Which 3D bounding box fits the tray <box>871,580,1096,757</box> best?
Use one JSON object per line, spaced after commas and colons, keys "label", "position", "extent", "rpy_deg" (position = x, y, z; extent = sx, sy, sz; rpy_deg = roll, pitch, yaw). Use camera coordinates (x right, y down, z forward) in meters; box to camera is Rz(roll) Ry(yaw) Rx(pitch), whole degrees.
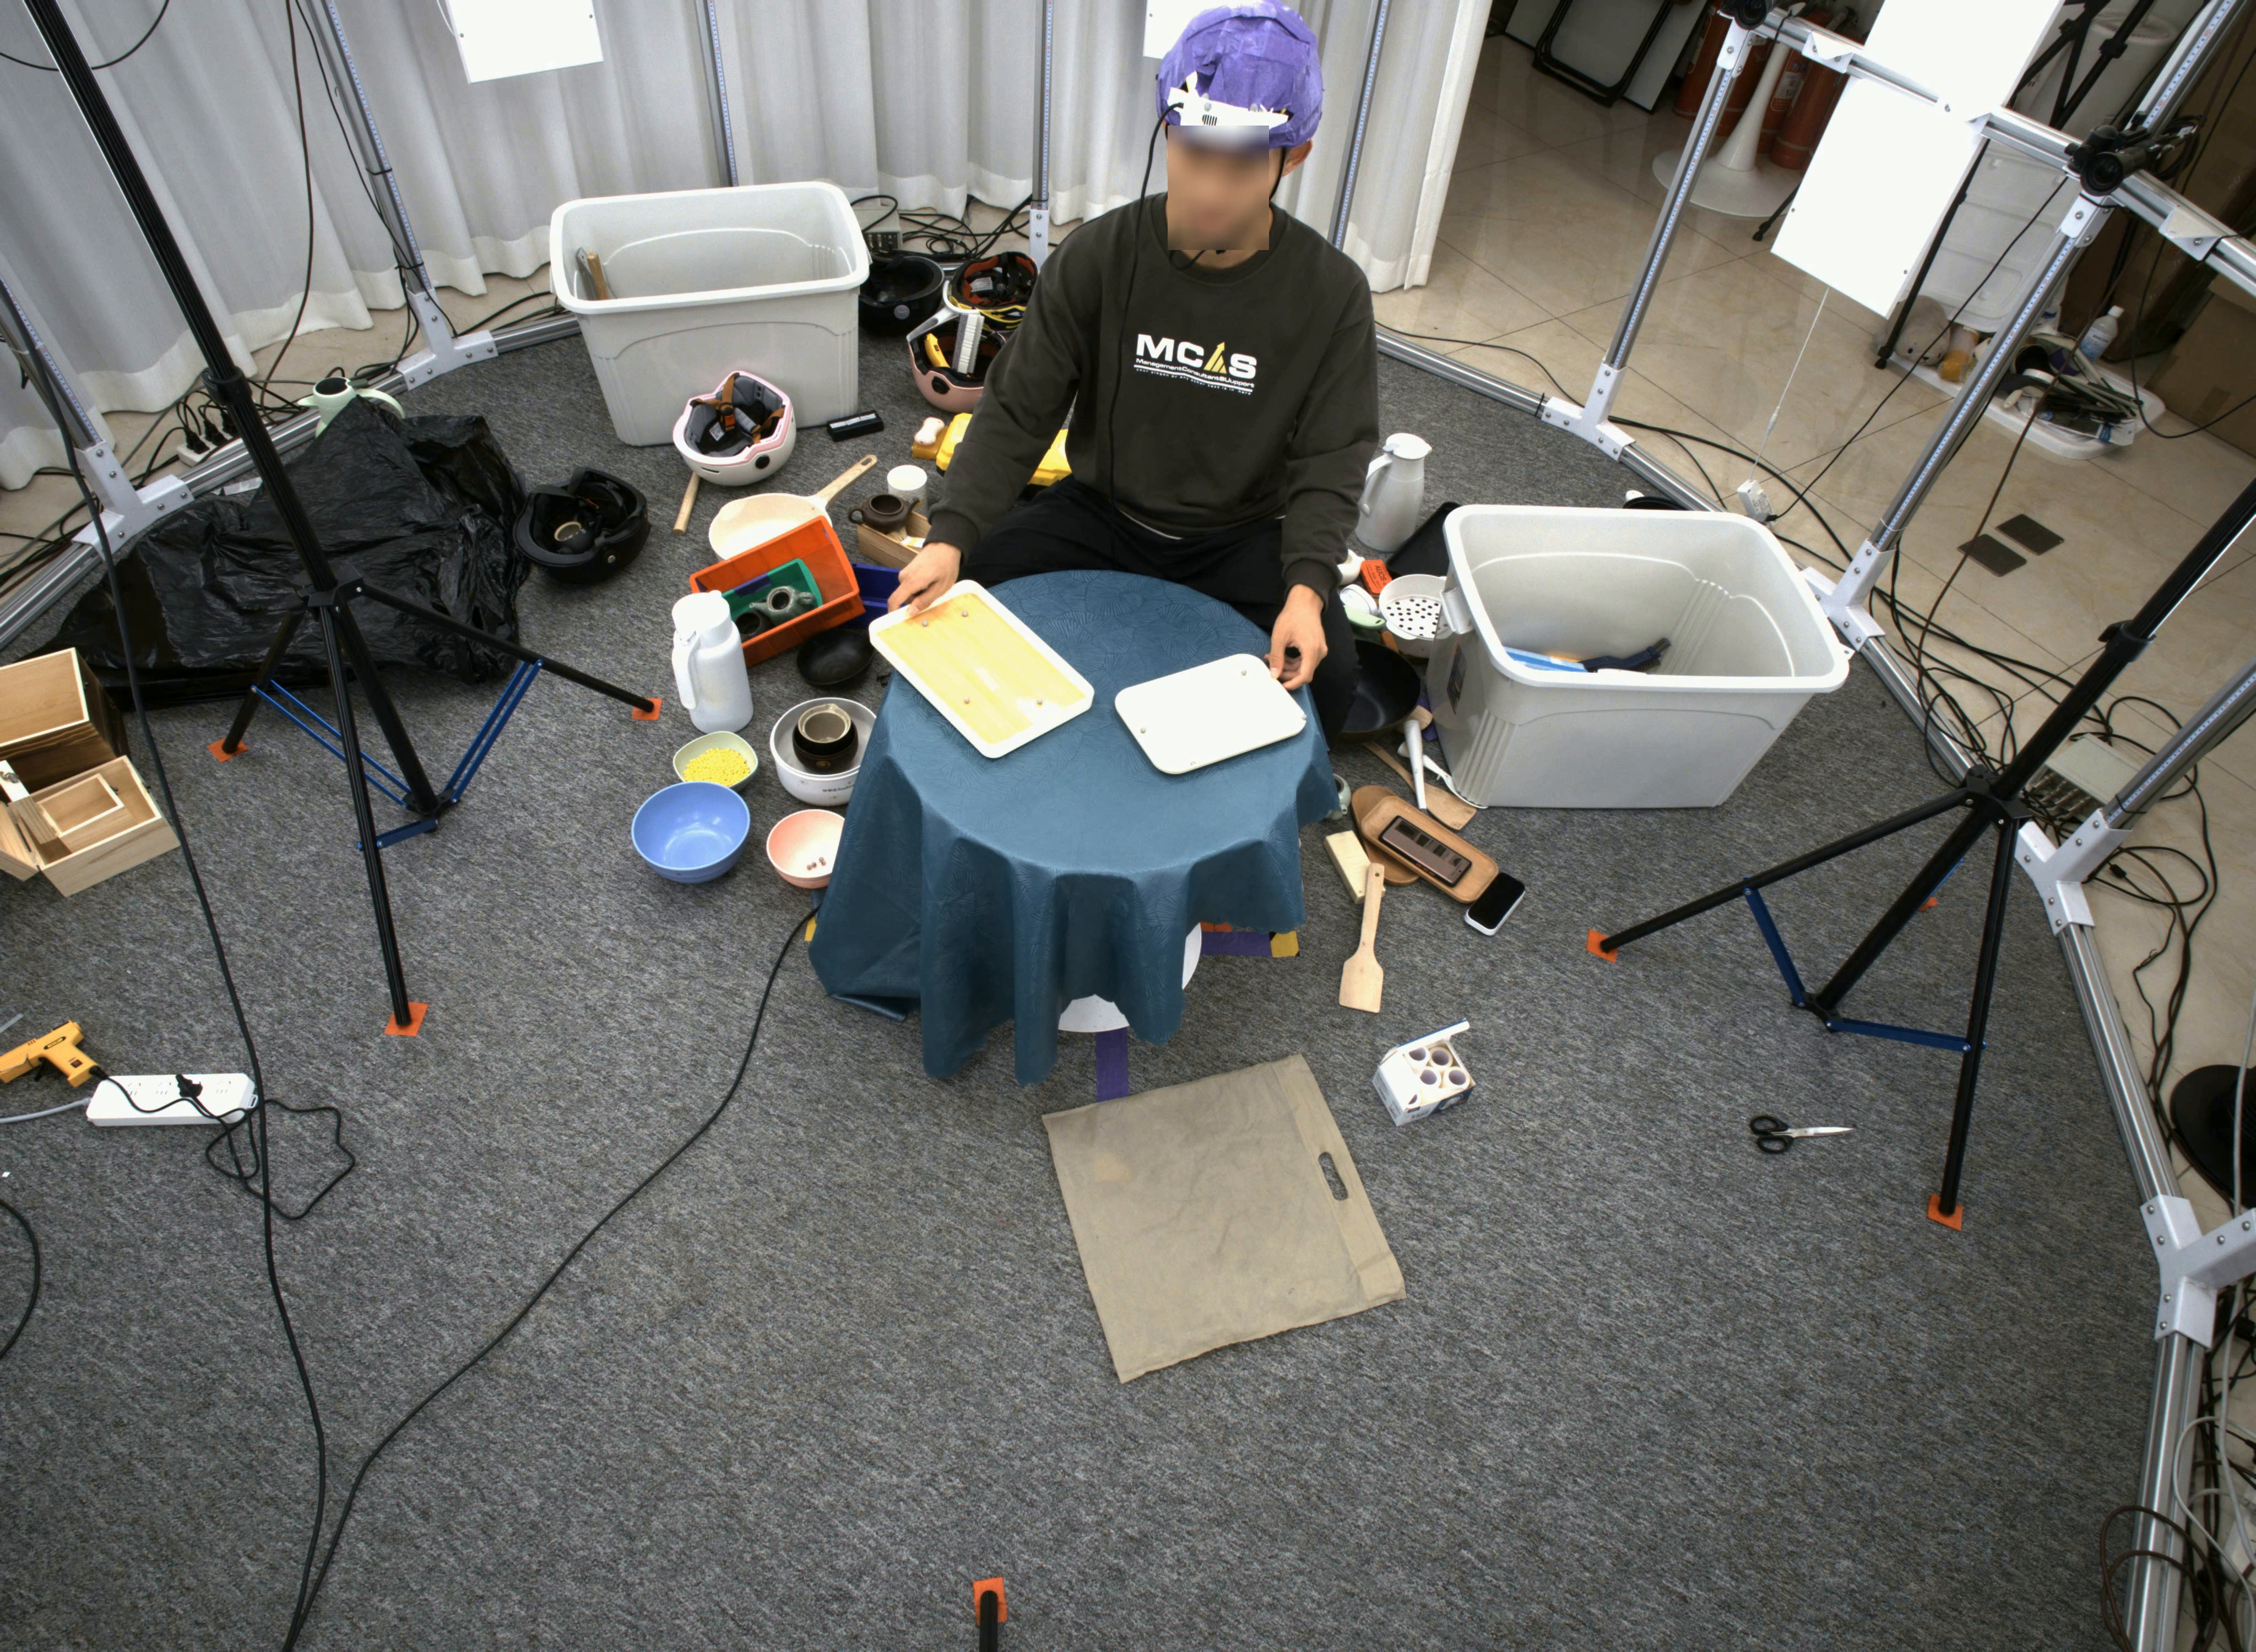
{"label": "tray", "position": [-0.206, -0.229, 1.825], "extent": [0.193, 0.027, 0.305], "rpy_deg": [-30, 59, -29]}

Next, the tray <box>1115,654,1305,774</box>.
{"label": "tray", "position": [0.115, -0.158, 1.799], "extent": [0.240, 0.017, 0.175], "rpy_deg": [-19, 52, -20]}
